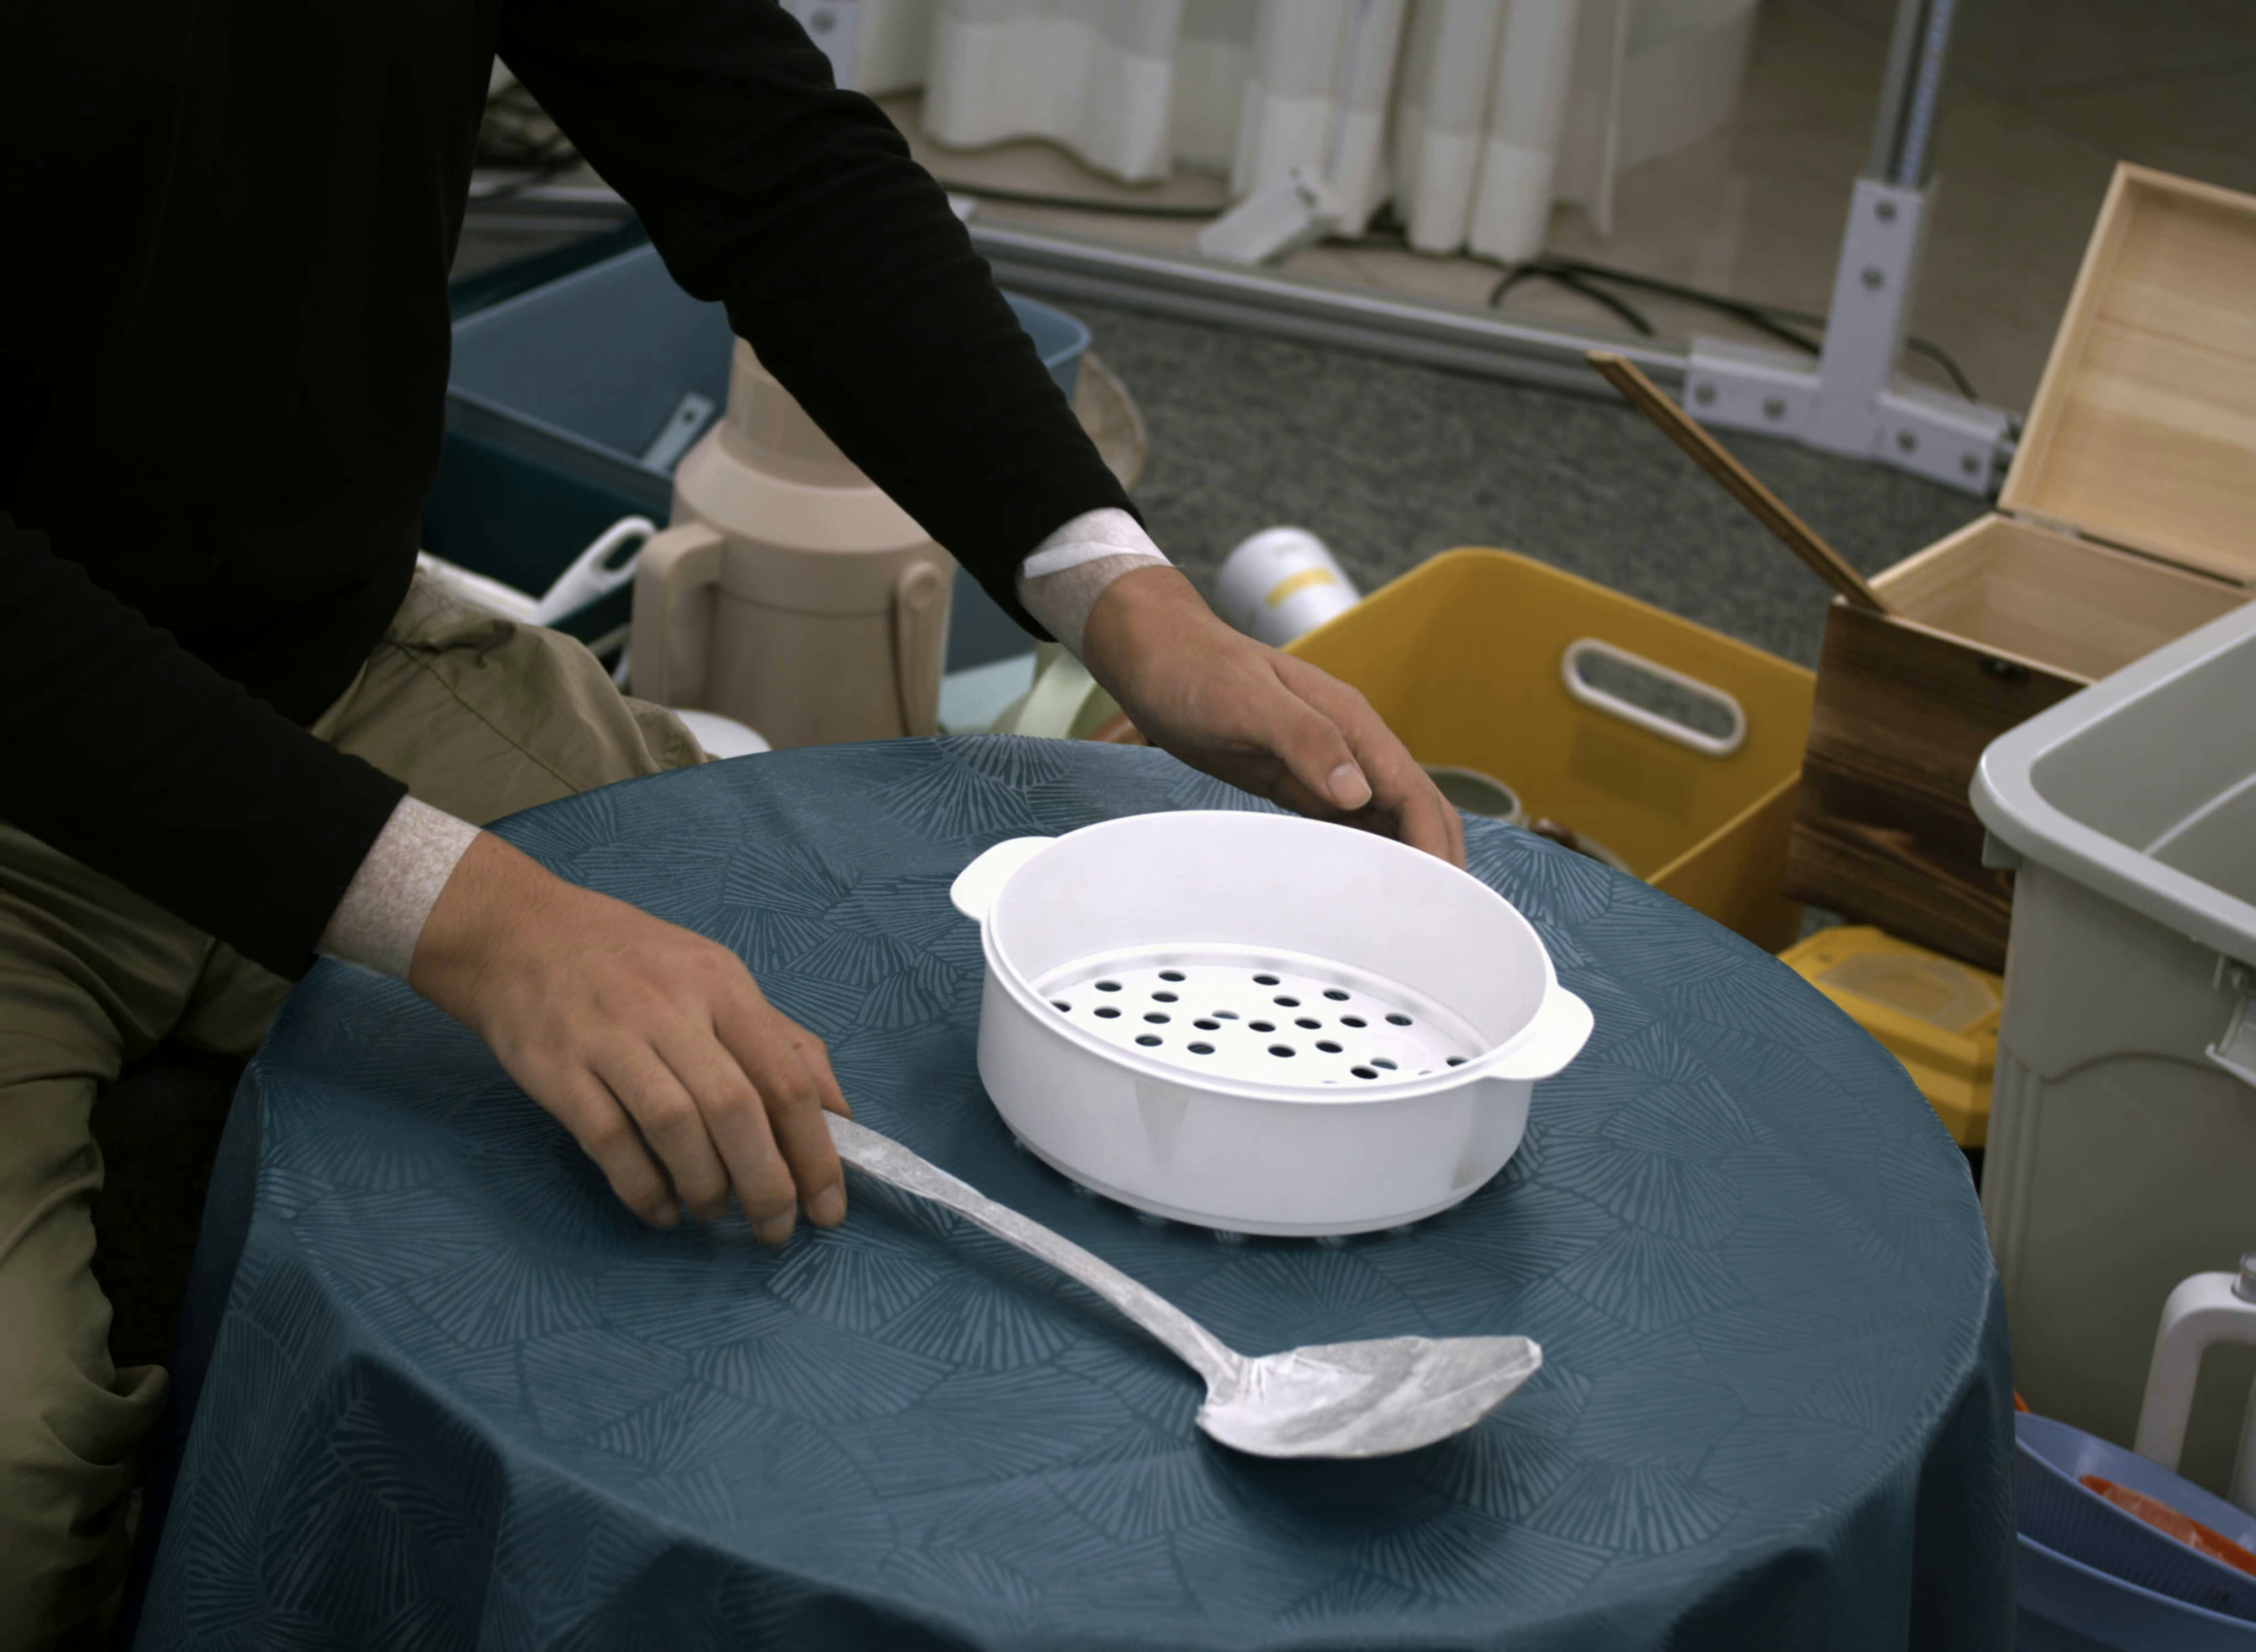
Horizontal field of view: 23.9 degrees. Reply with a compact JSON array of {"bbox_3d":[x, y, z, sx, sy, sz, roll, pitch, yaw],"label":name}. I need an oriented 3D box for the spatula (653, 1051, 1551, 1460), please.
[{"bbox_3d":[-0.028,0.131,1.739,0.367,0.044,0.098,25,35,32],"label":"spatula"}]

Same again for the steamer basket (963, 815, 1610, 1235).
[{"bbox_3d":[0.051,0.069,1.843,0.231,0.069,0.202,16,28,20],"label":"steamer basket"}]
